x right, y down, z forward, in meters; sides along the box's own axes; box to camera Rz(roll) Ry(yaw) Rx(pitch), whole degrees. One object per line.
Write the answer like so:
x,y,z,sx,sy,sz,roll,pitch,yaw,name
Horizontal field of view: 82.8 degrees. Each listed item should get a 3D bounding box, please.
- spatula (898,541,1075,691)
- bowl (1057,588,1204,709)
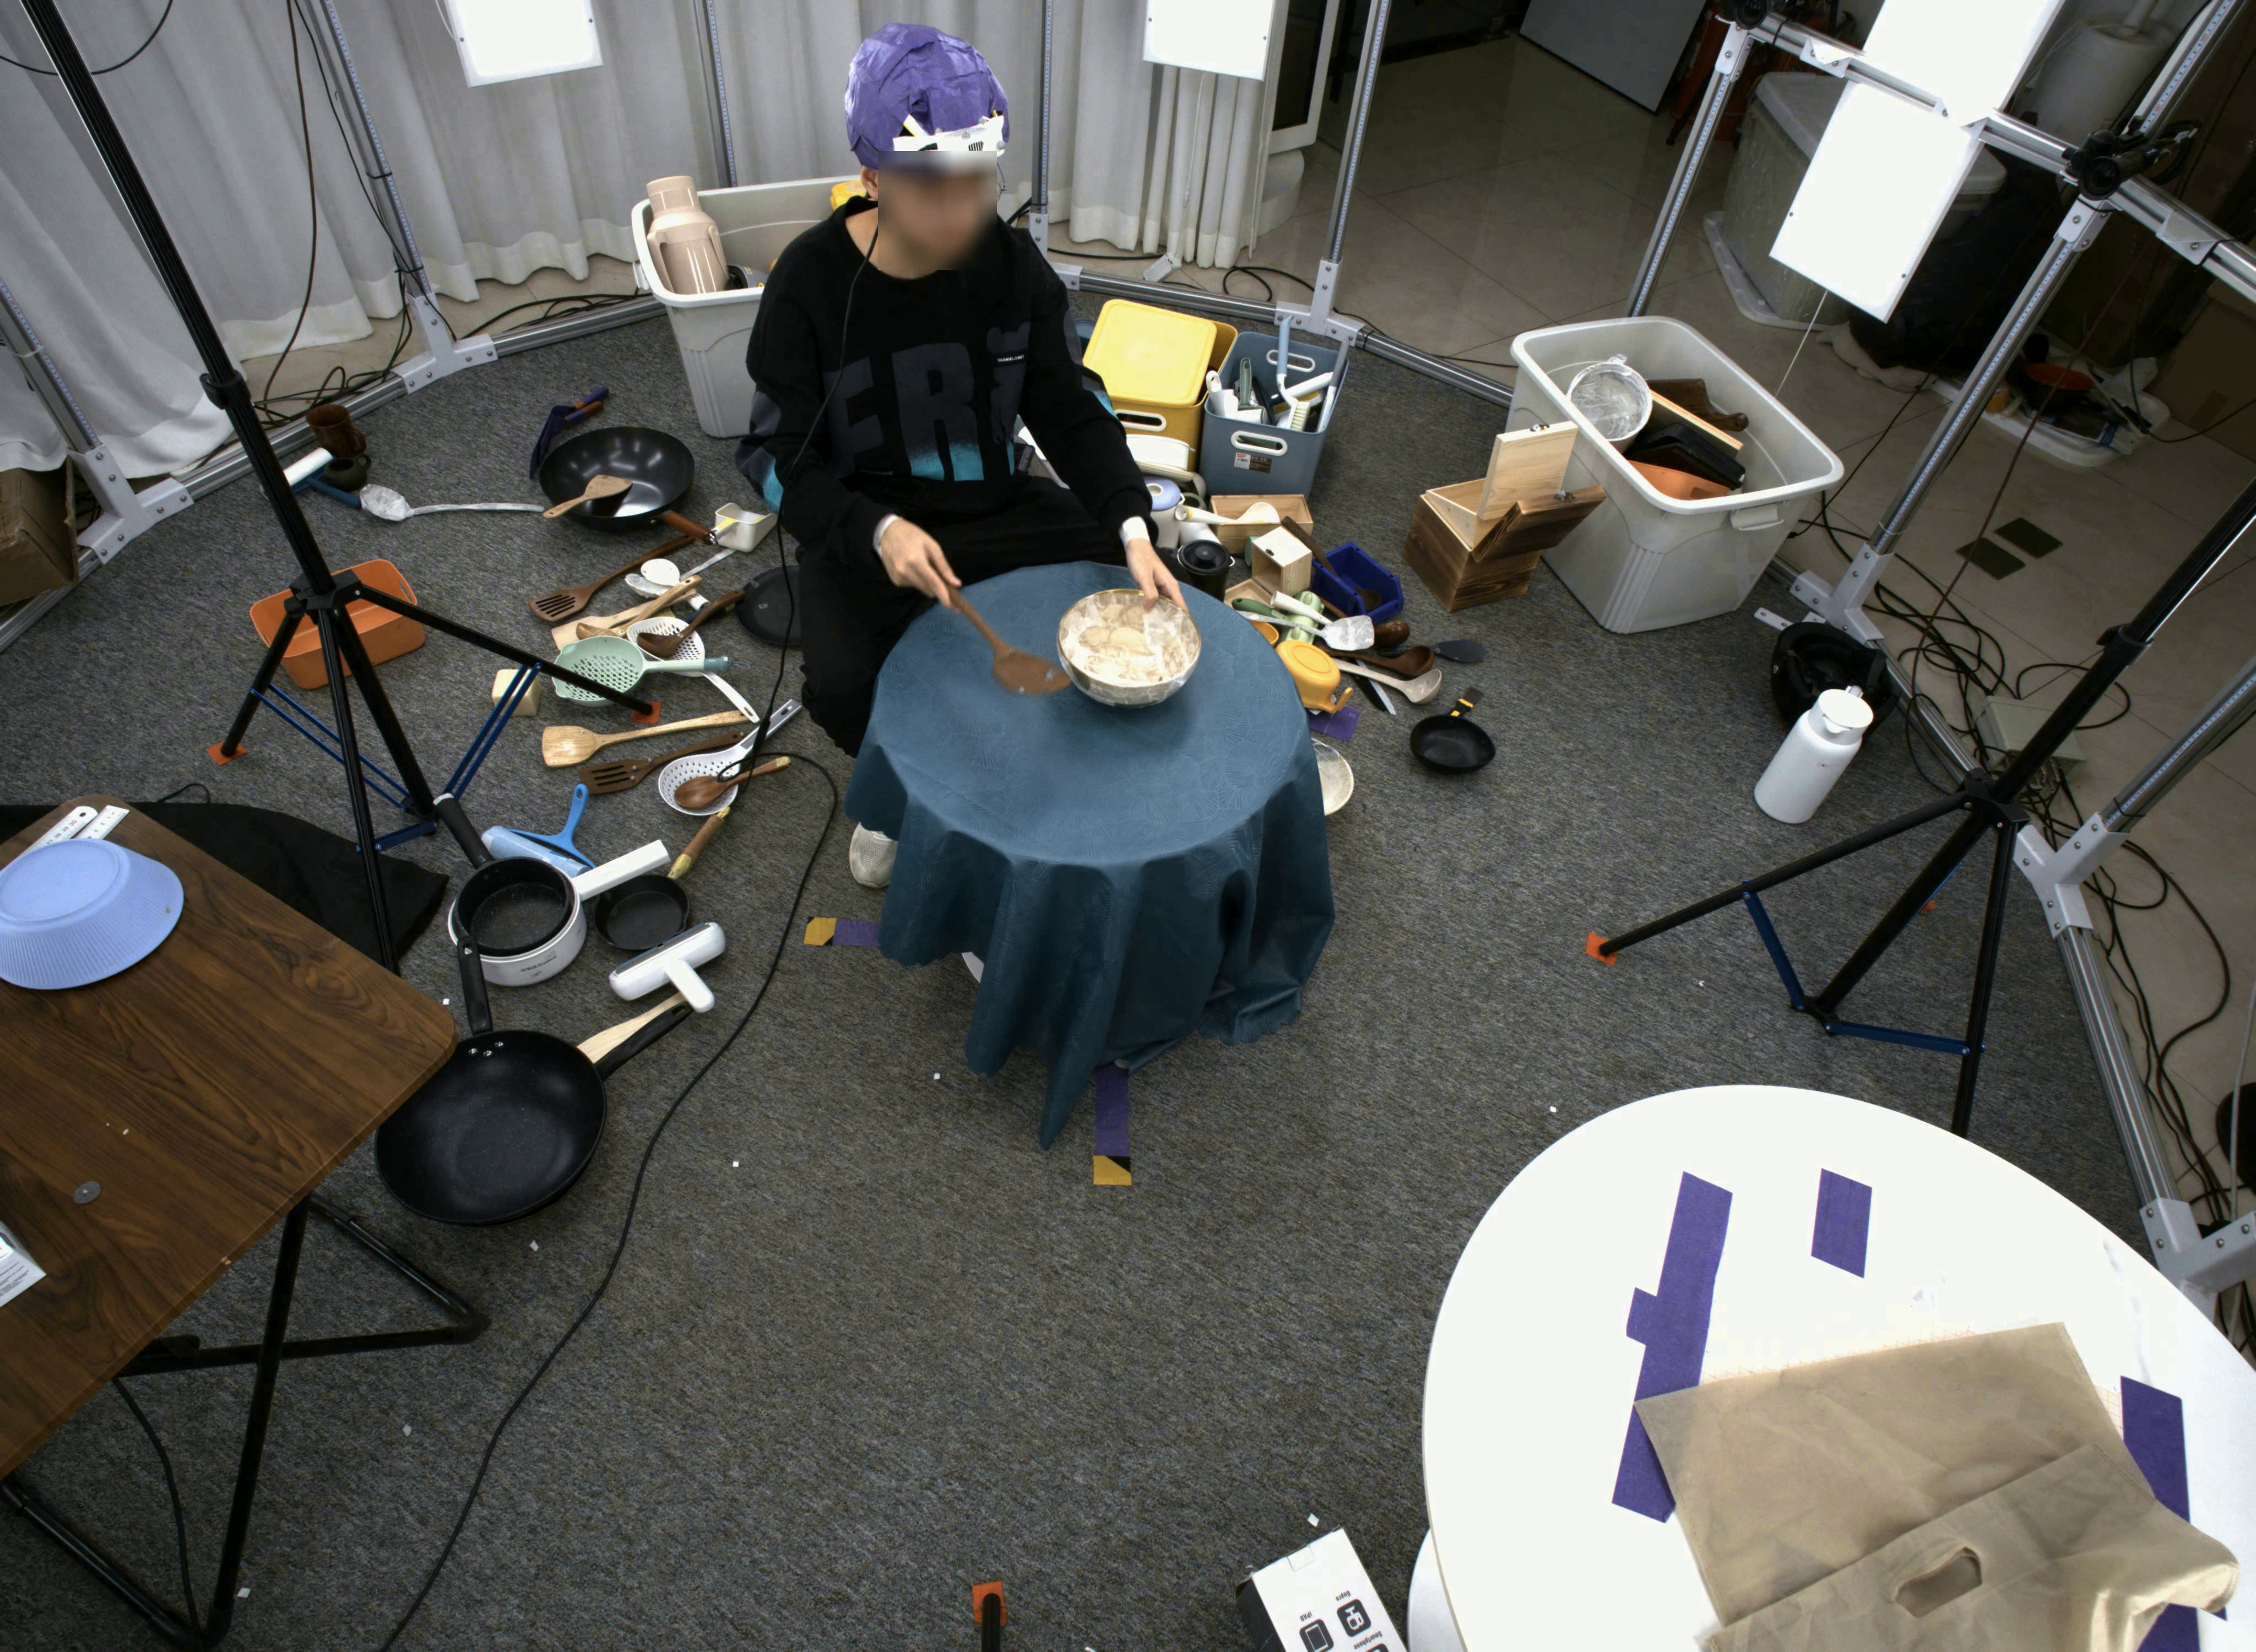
-0.209,-0.291,1.740,0.096,0.015,0.393,-14,46,-37,spatula
0.002,-0.238,1.830,0.214,0.092,0.220,1,48,-2,bowl
